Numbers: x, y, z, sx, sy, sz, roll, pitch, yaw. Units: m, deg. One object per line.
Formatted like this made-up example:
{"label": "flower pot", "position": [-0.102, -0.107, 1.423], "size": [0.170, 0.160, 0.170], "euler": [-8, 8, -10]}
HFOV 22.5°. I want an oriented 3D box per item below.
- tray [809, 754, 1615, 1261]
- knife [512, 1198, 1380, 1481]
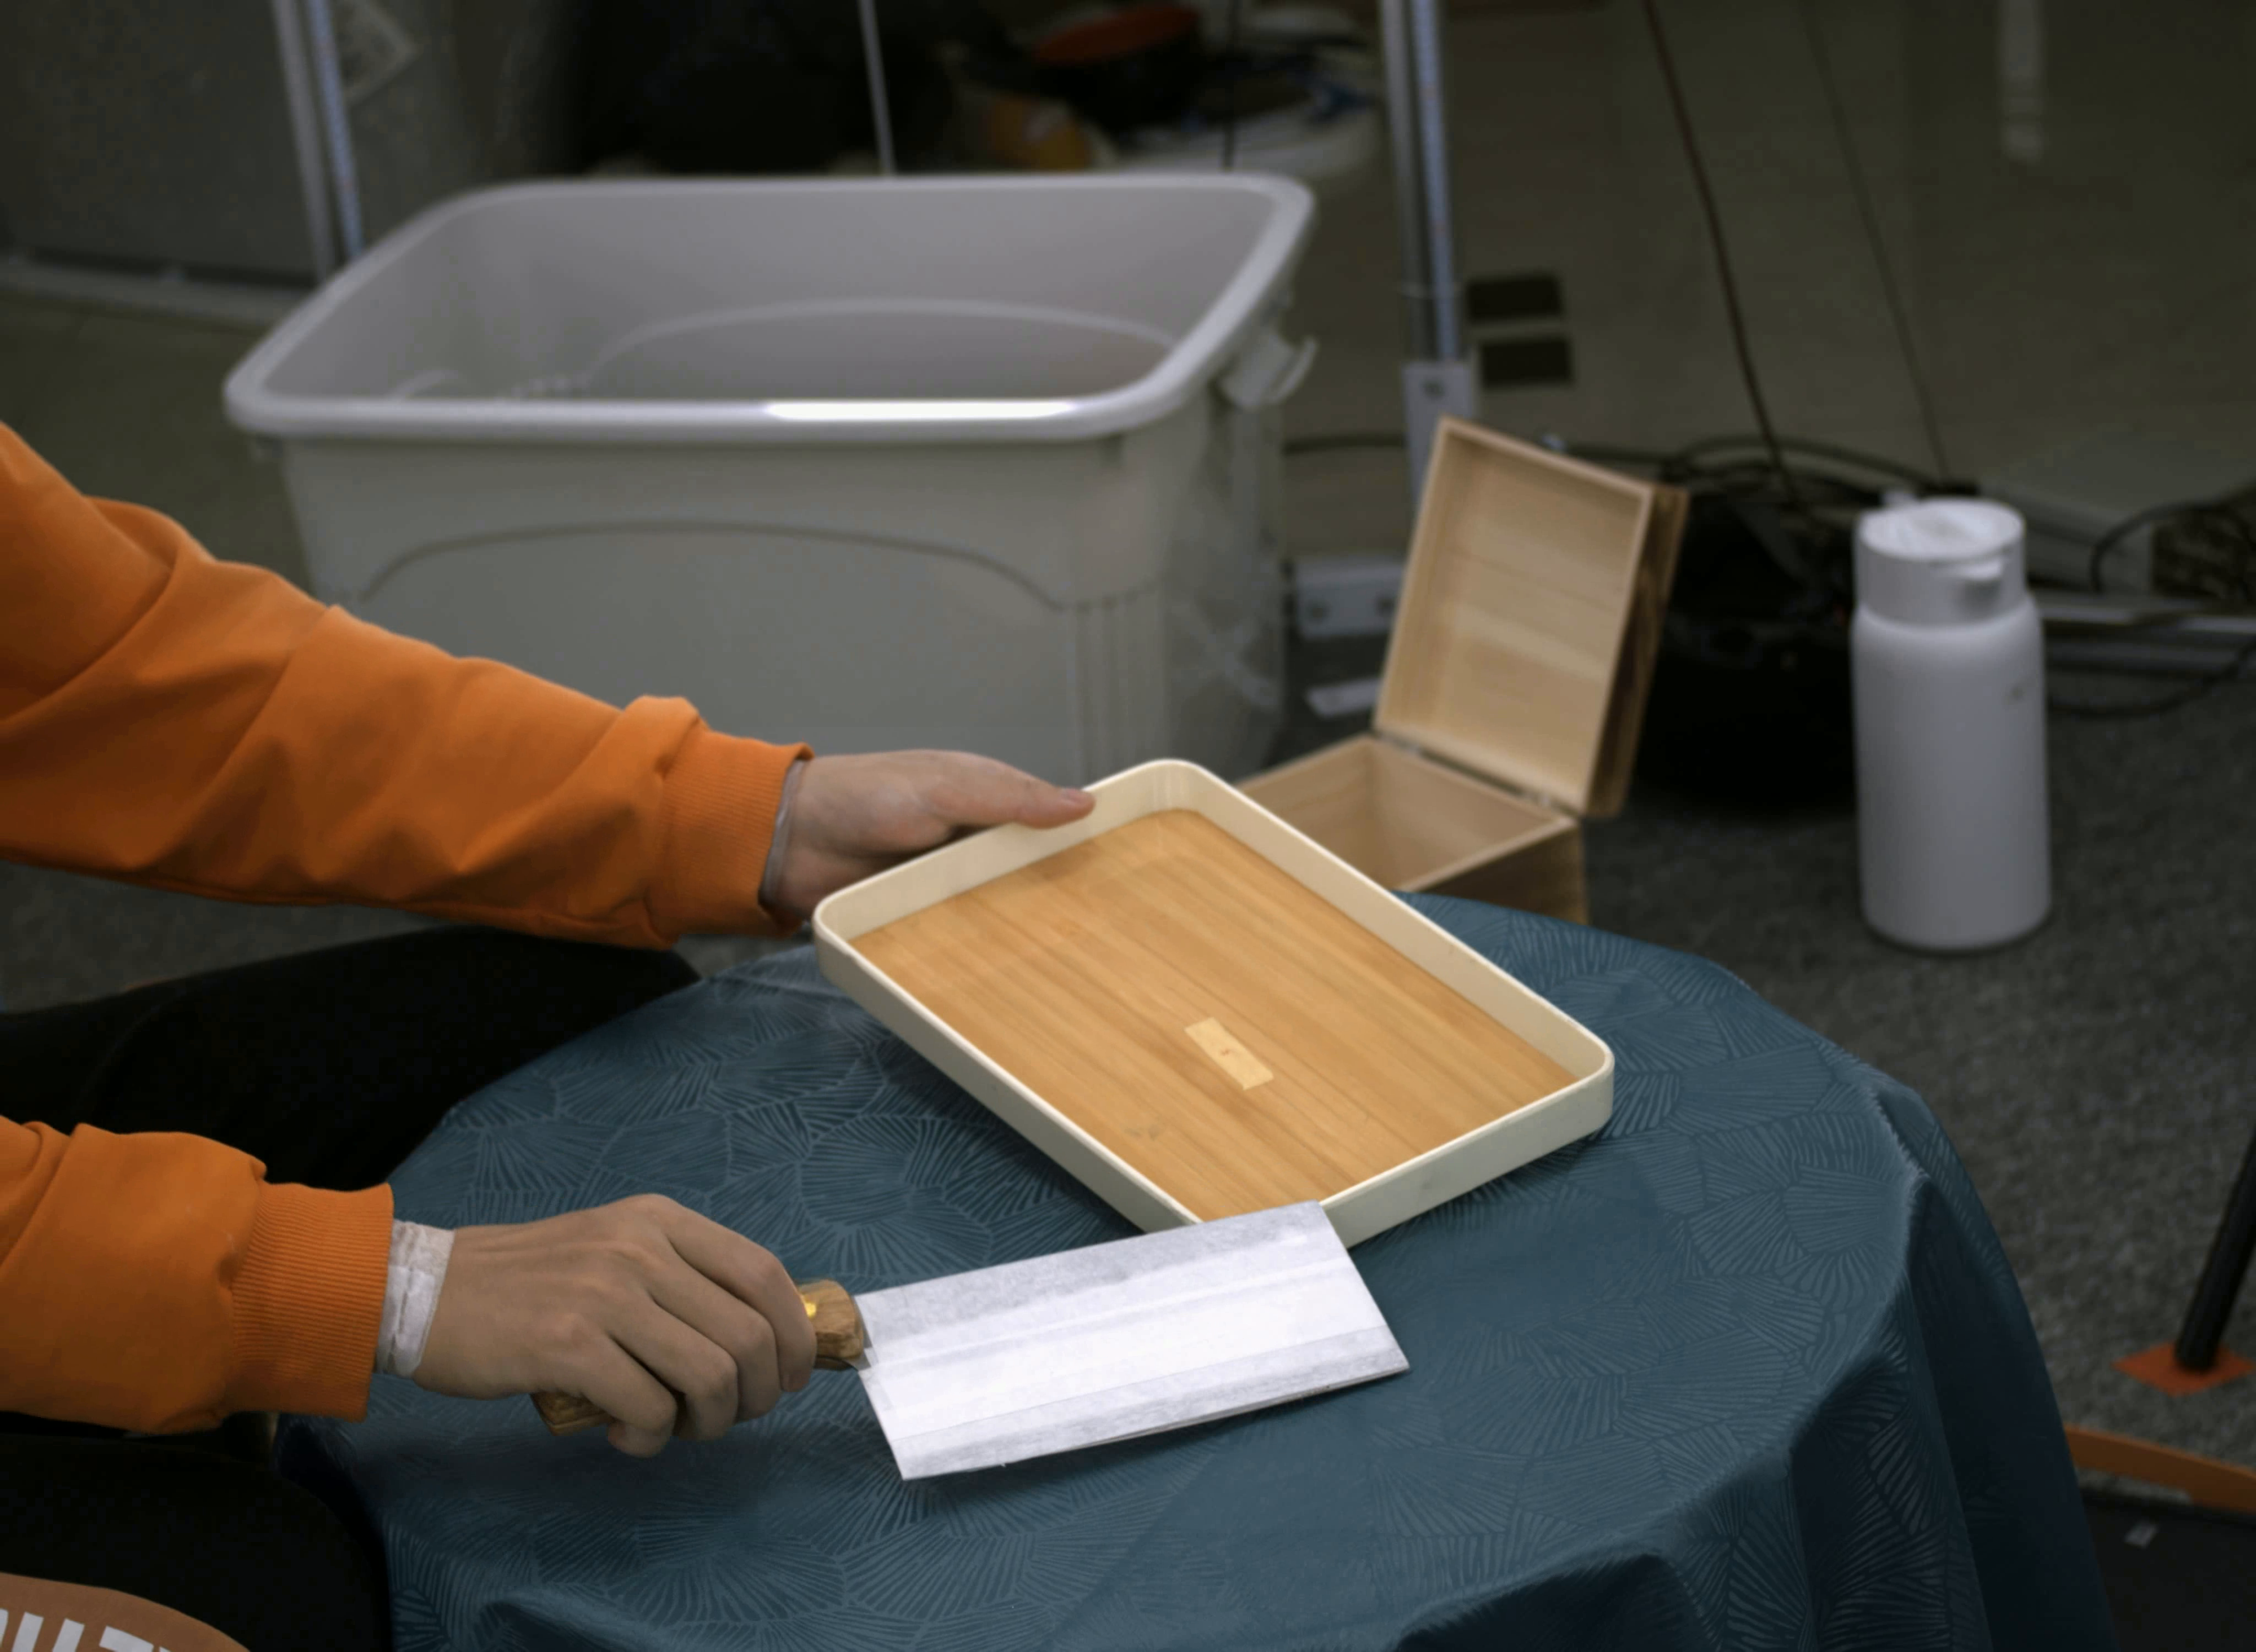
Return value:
{"label": "tray", "position": [0.029, 0.071, 2.202], "size": [0.190, 0.028, 0.296], "euler": [-23, 38, -27]}
{"label": "knife", "position": [-0.059, 0.188, 1.990], "size": [0.305, 0.021, 0.091], "euler": [-11, 45, -18]}
